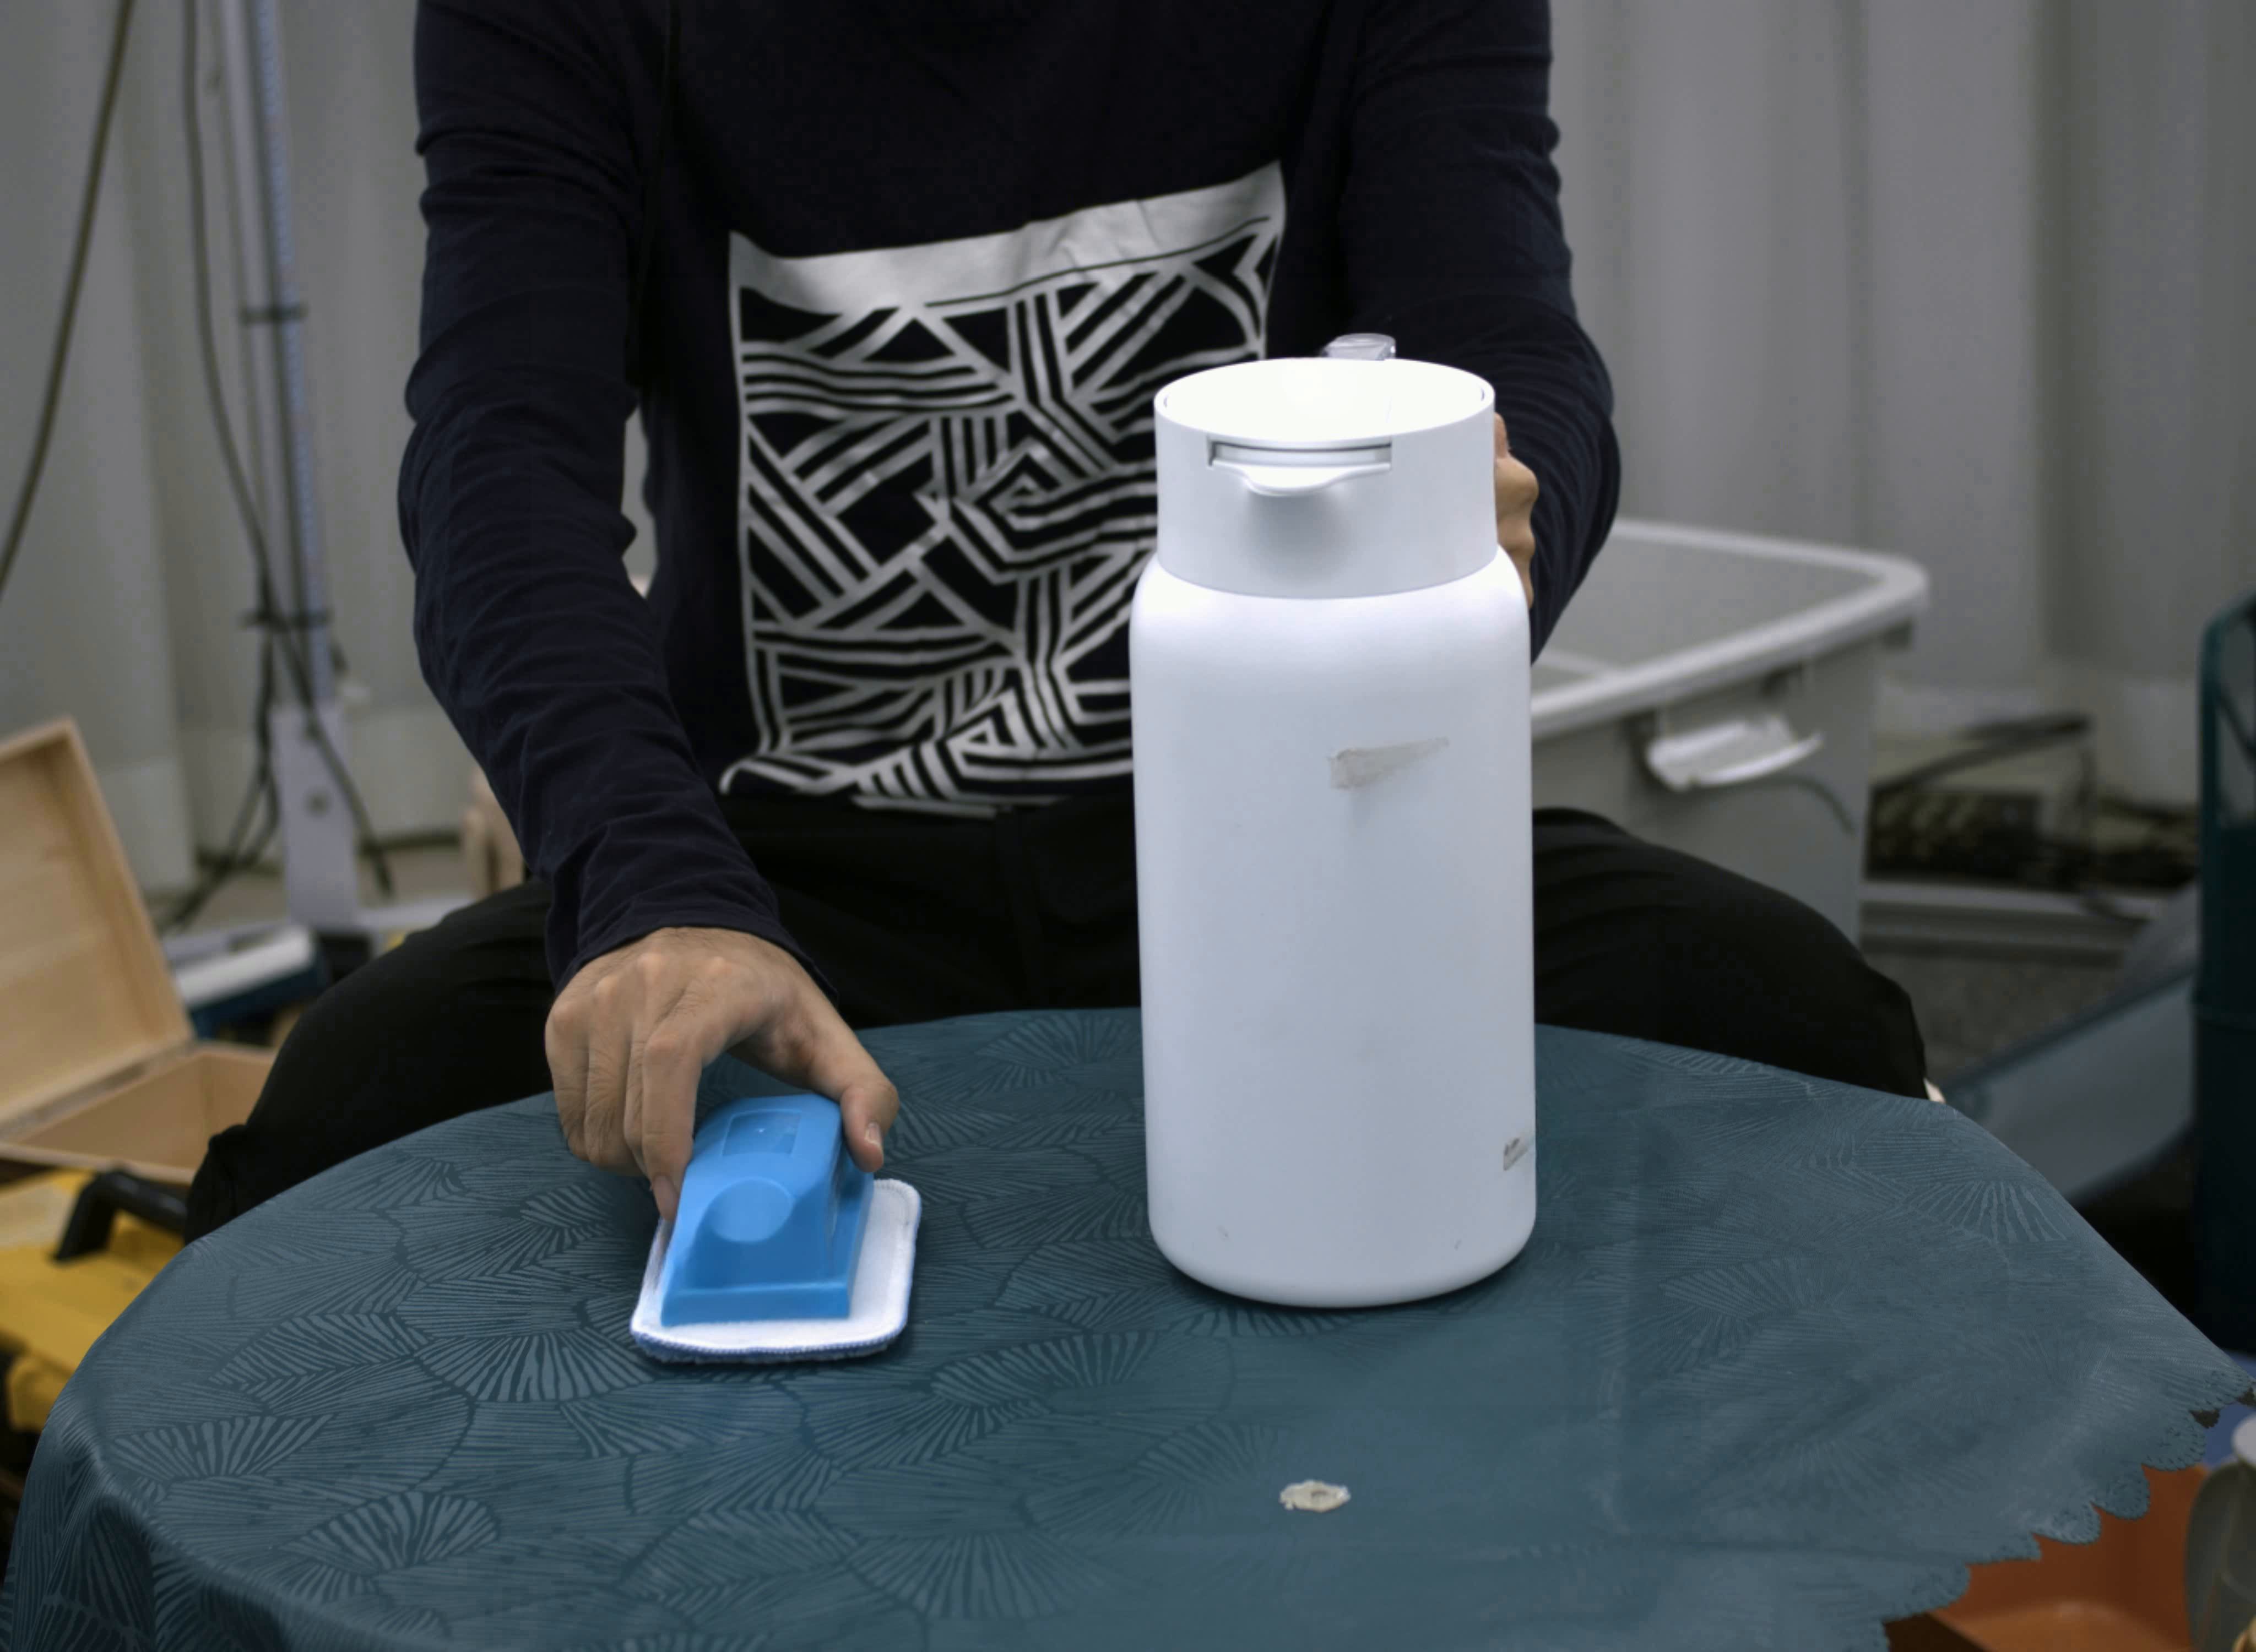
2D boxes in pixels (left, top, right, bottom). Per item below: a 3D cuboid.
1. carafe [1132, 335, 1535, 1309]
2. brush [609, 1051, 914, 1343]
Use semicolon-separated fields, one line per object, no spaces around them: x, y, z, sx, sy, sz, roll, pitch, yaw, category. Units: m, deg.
0.063;-0.005;1.626;0.123;0.267;0.174;0;17;11;carafe
-0.109;0.108;1.641;0.083;0.055;0.145;1;18;2;brush
